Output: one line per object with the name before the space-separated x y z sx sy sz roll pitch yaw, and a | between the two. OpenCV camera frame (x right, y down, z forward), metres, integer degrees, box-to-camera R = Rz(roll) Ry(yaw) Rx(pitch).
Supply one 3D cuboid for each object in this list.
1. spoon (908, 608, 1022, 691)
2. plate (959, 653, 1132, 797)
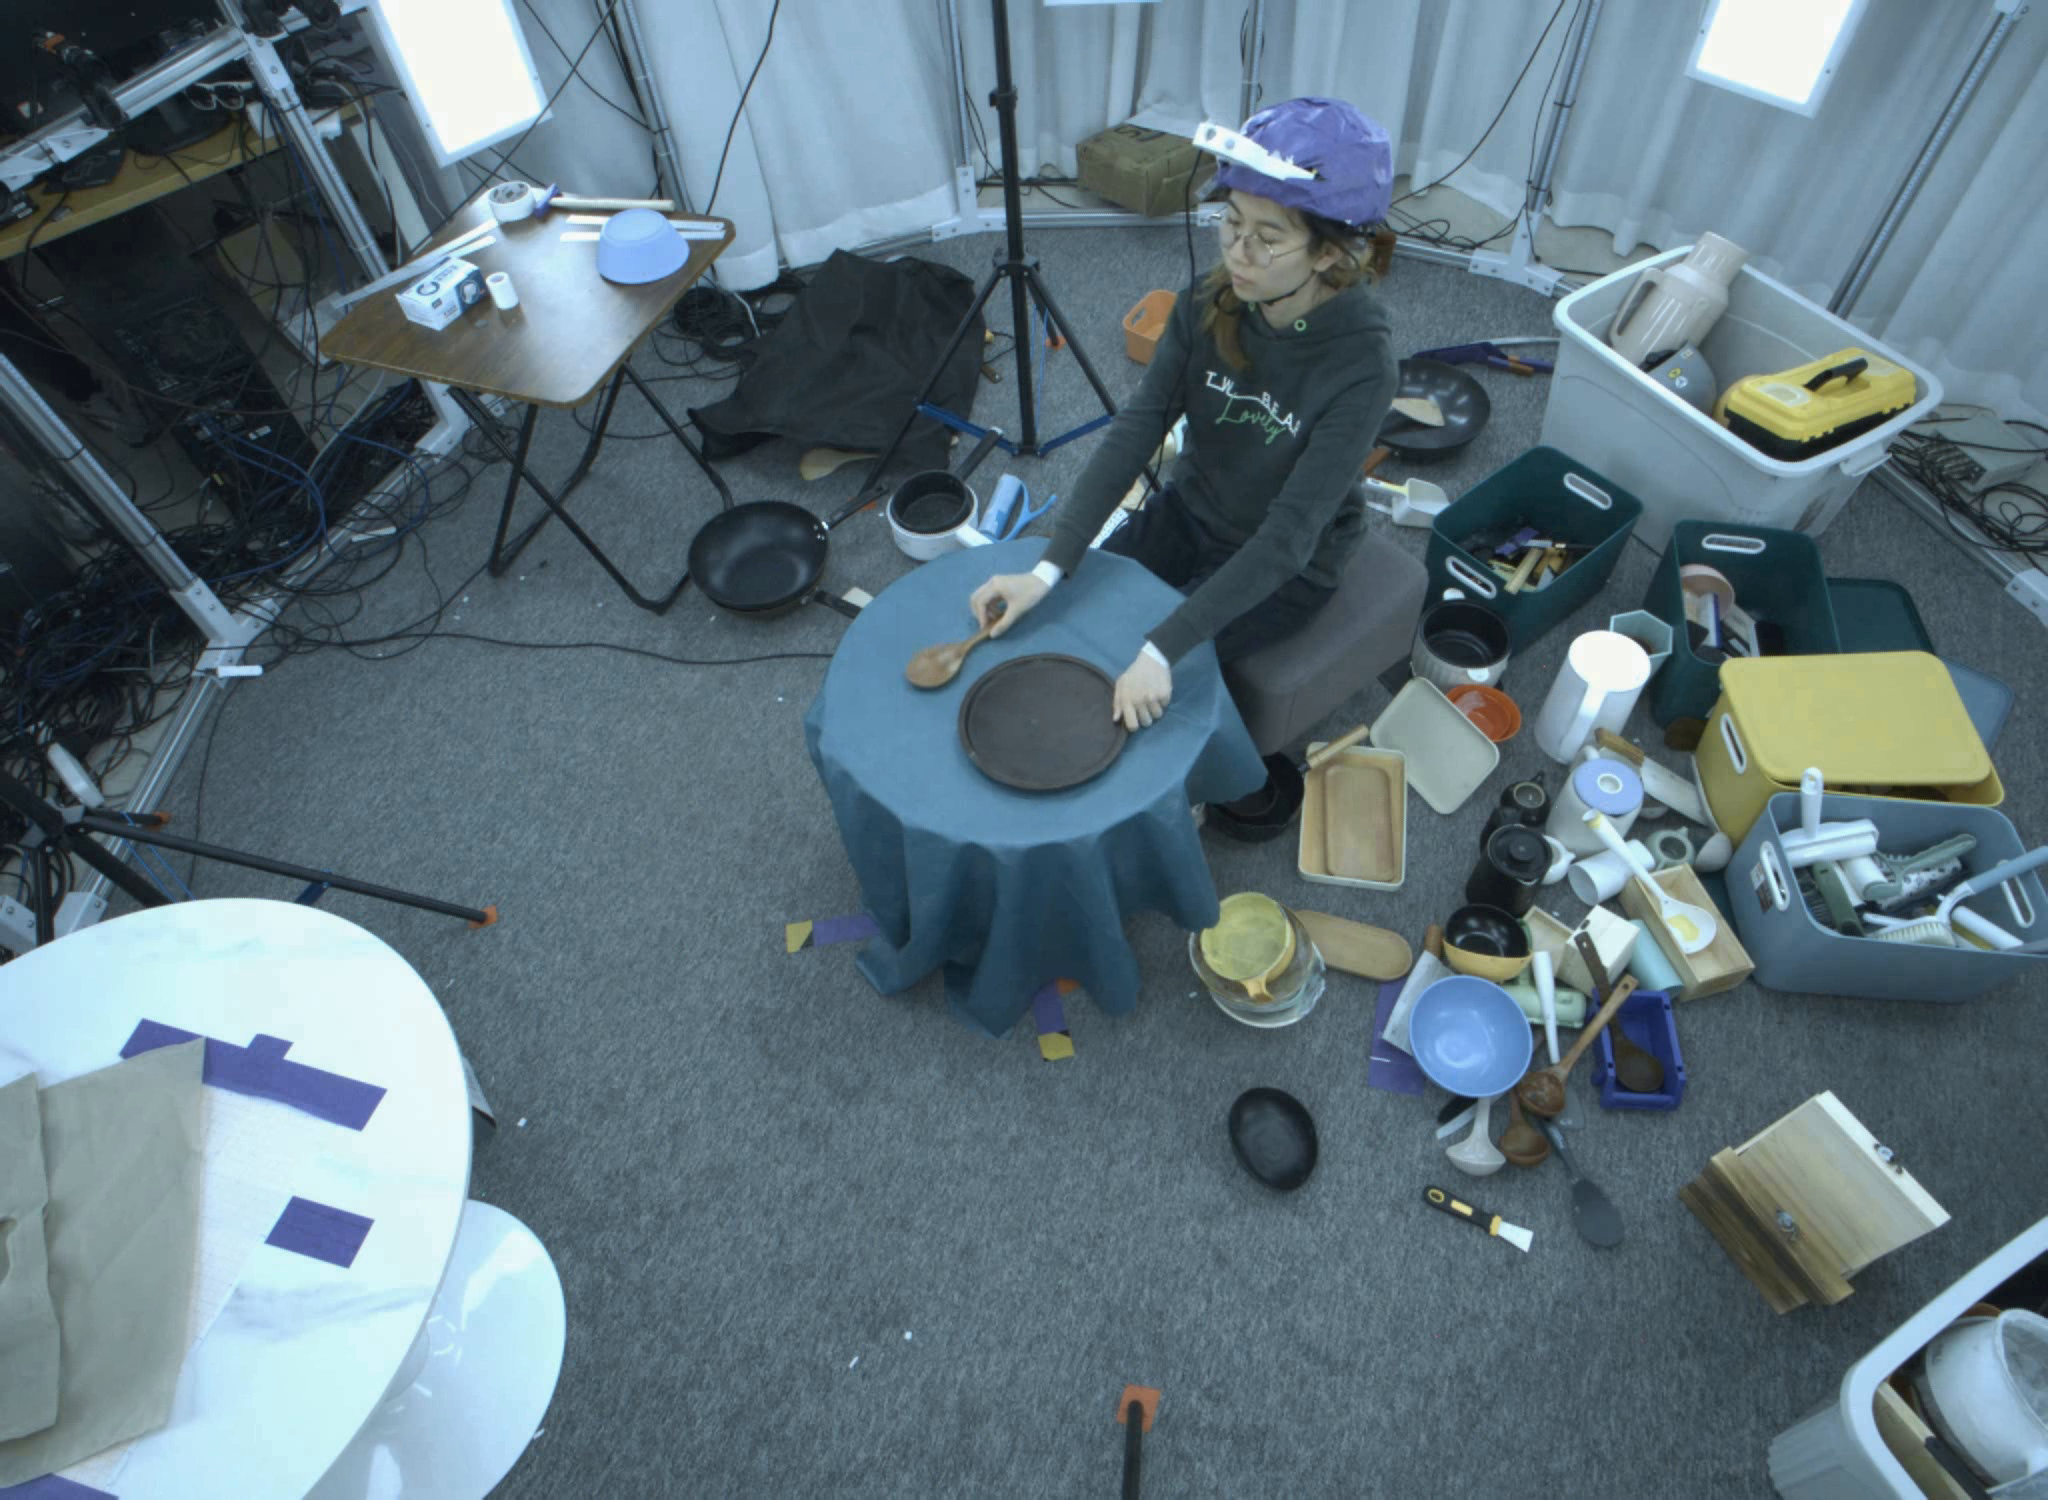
spoon | -0.087 -0.157 1.900 0.217 0.017 0.074 -37 61 -22
plate | 0.031 -0.036 1.809 0.254 0.029 0.252 0 56 2
